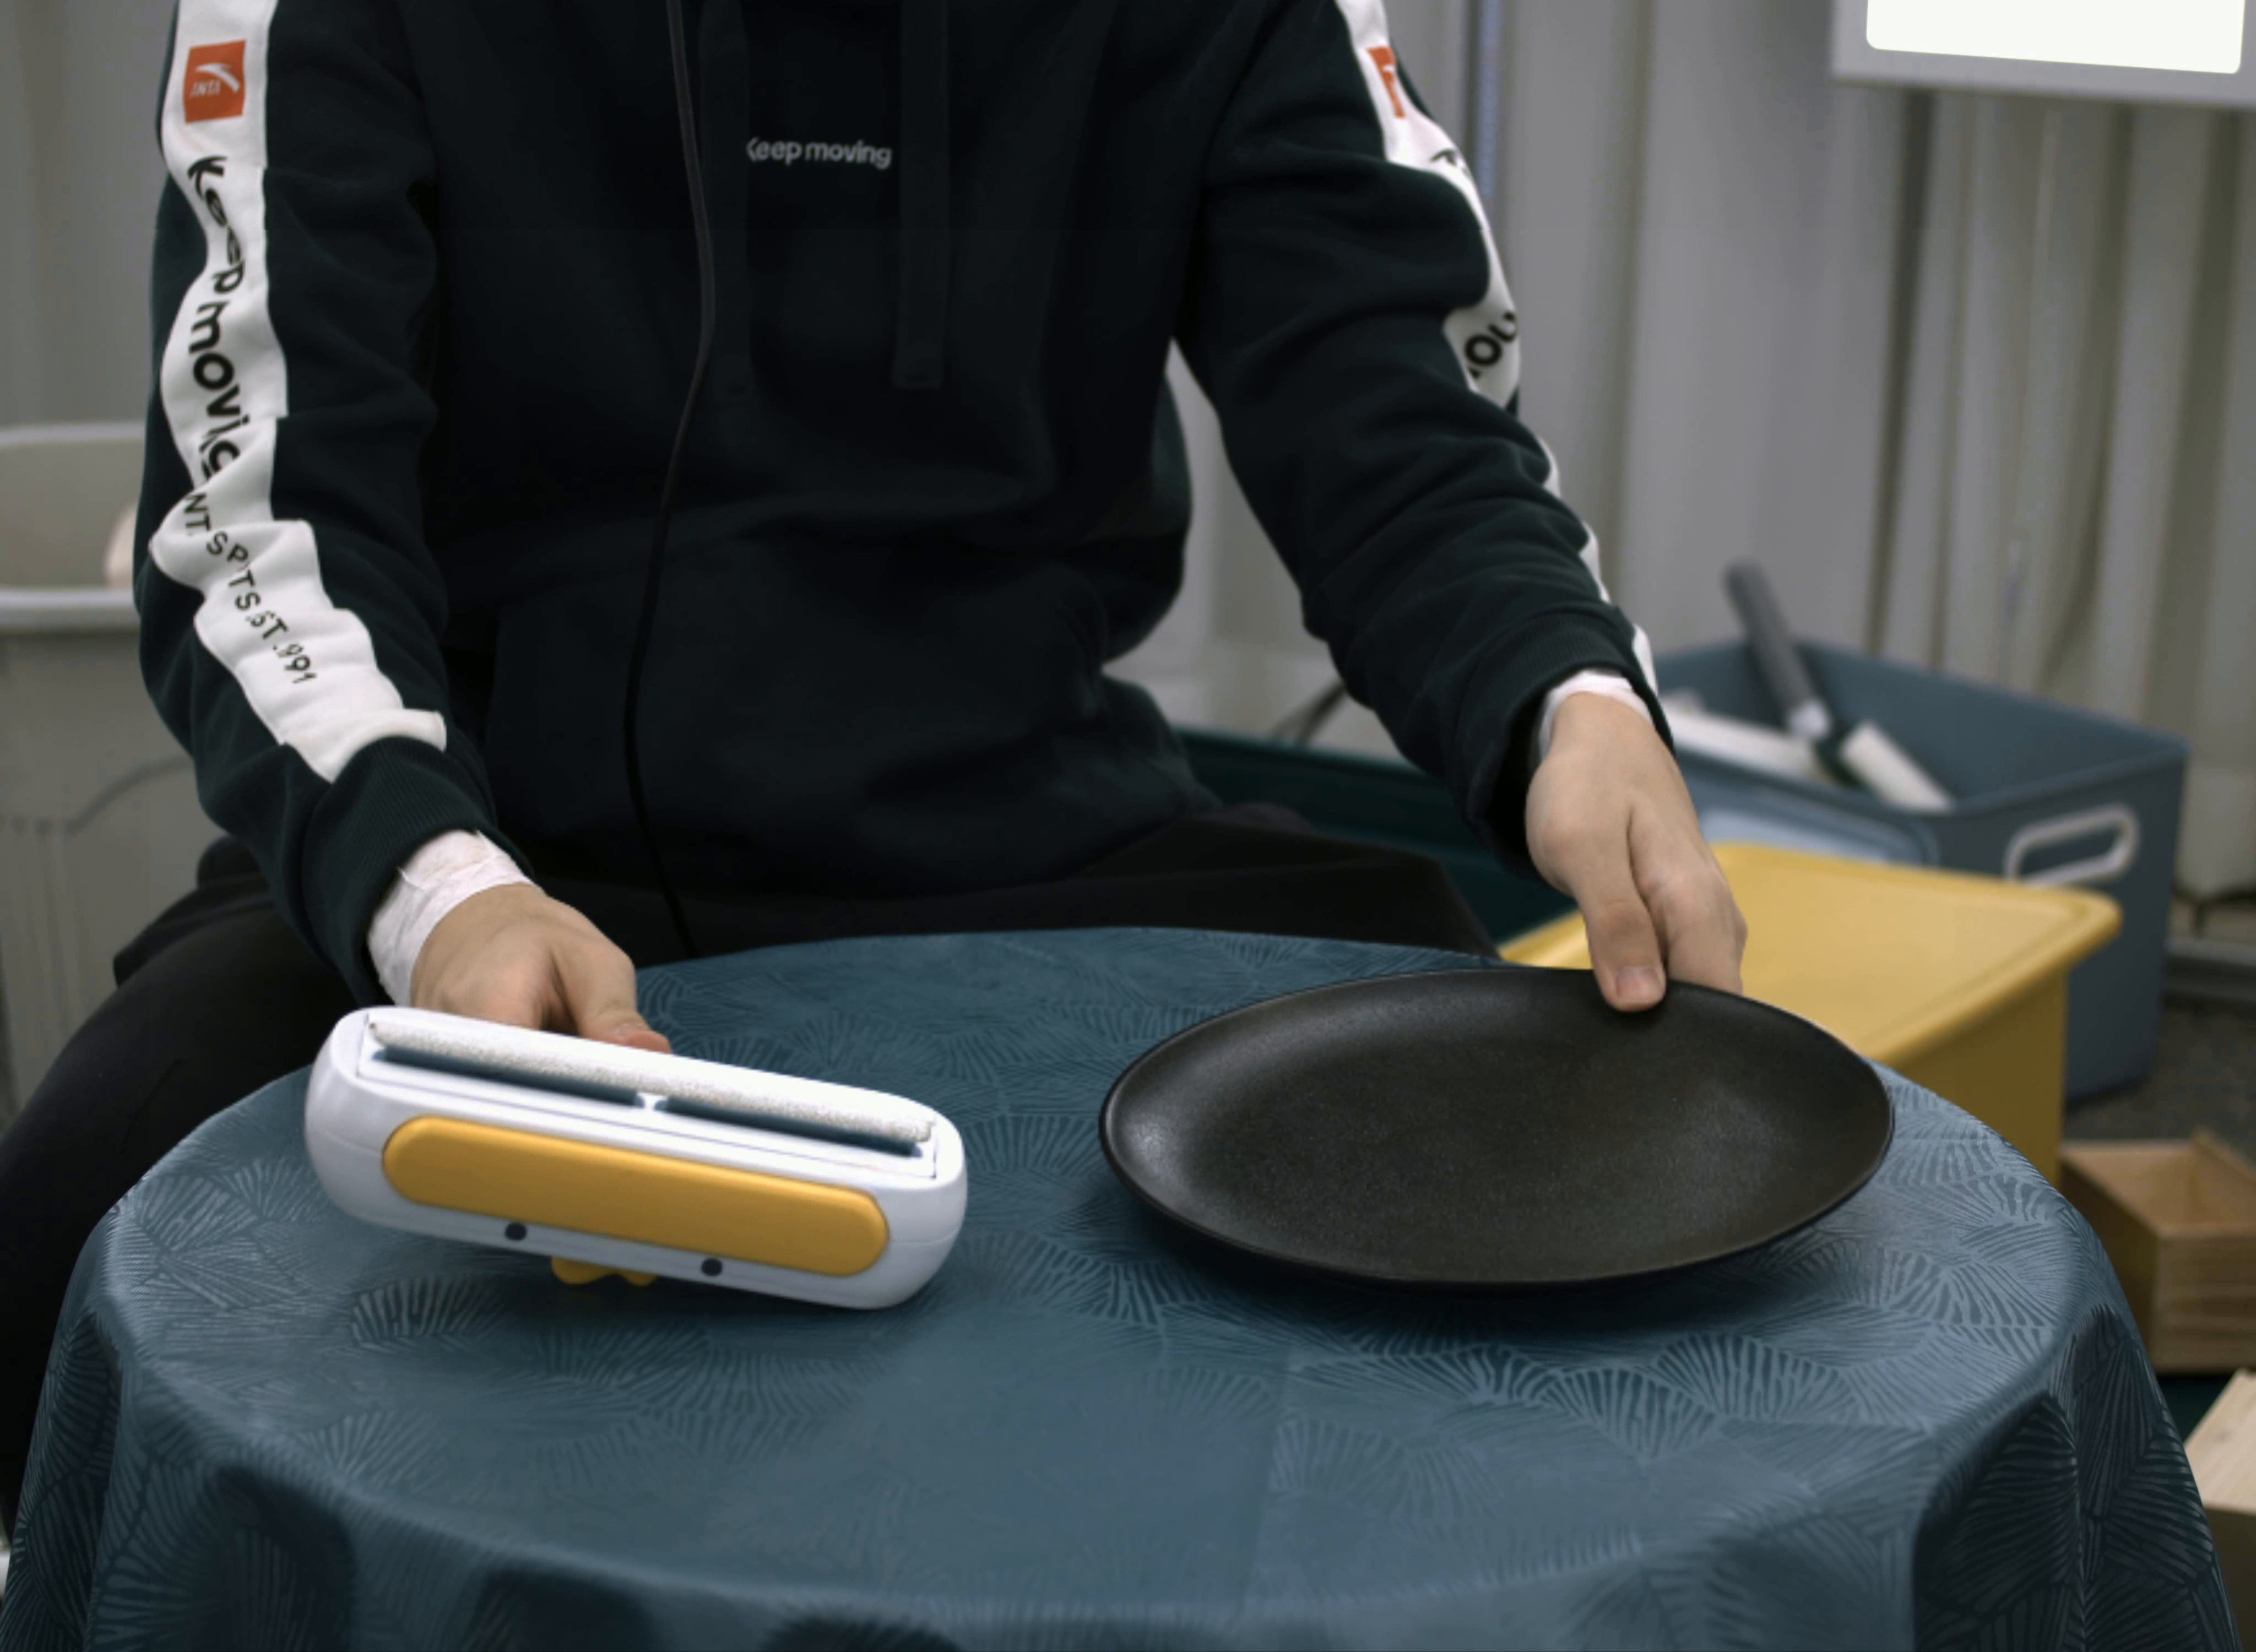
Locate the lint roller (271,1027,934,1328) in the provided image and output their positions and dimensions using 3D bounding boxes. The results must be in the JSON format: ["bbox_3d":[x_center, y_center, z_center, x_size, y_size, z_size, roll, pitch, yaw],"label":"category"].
[{"bbox_3d":[-0.154,0.105,1.578,0.192,0.074,0.192,8,2,-3],"label":"lint roller"}]

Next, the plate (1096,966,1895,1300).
[{"bbox_3d":[0.112,0.097,1.607,0.243,0.023,0.243,-2,20,1],"label":"plate"}]
